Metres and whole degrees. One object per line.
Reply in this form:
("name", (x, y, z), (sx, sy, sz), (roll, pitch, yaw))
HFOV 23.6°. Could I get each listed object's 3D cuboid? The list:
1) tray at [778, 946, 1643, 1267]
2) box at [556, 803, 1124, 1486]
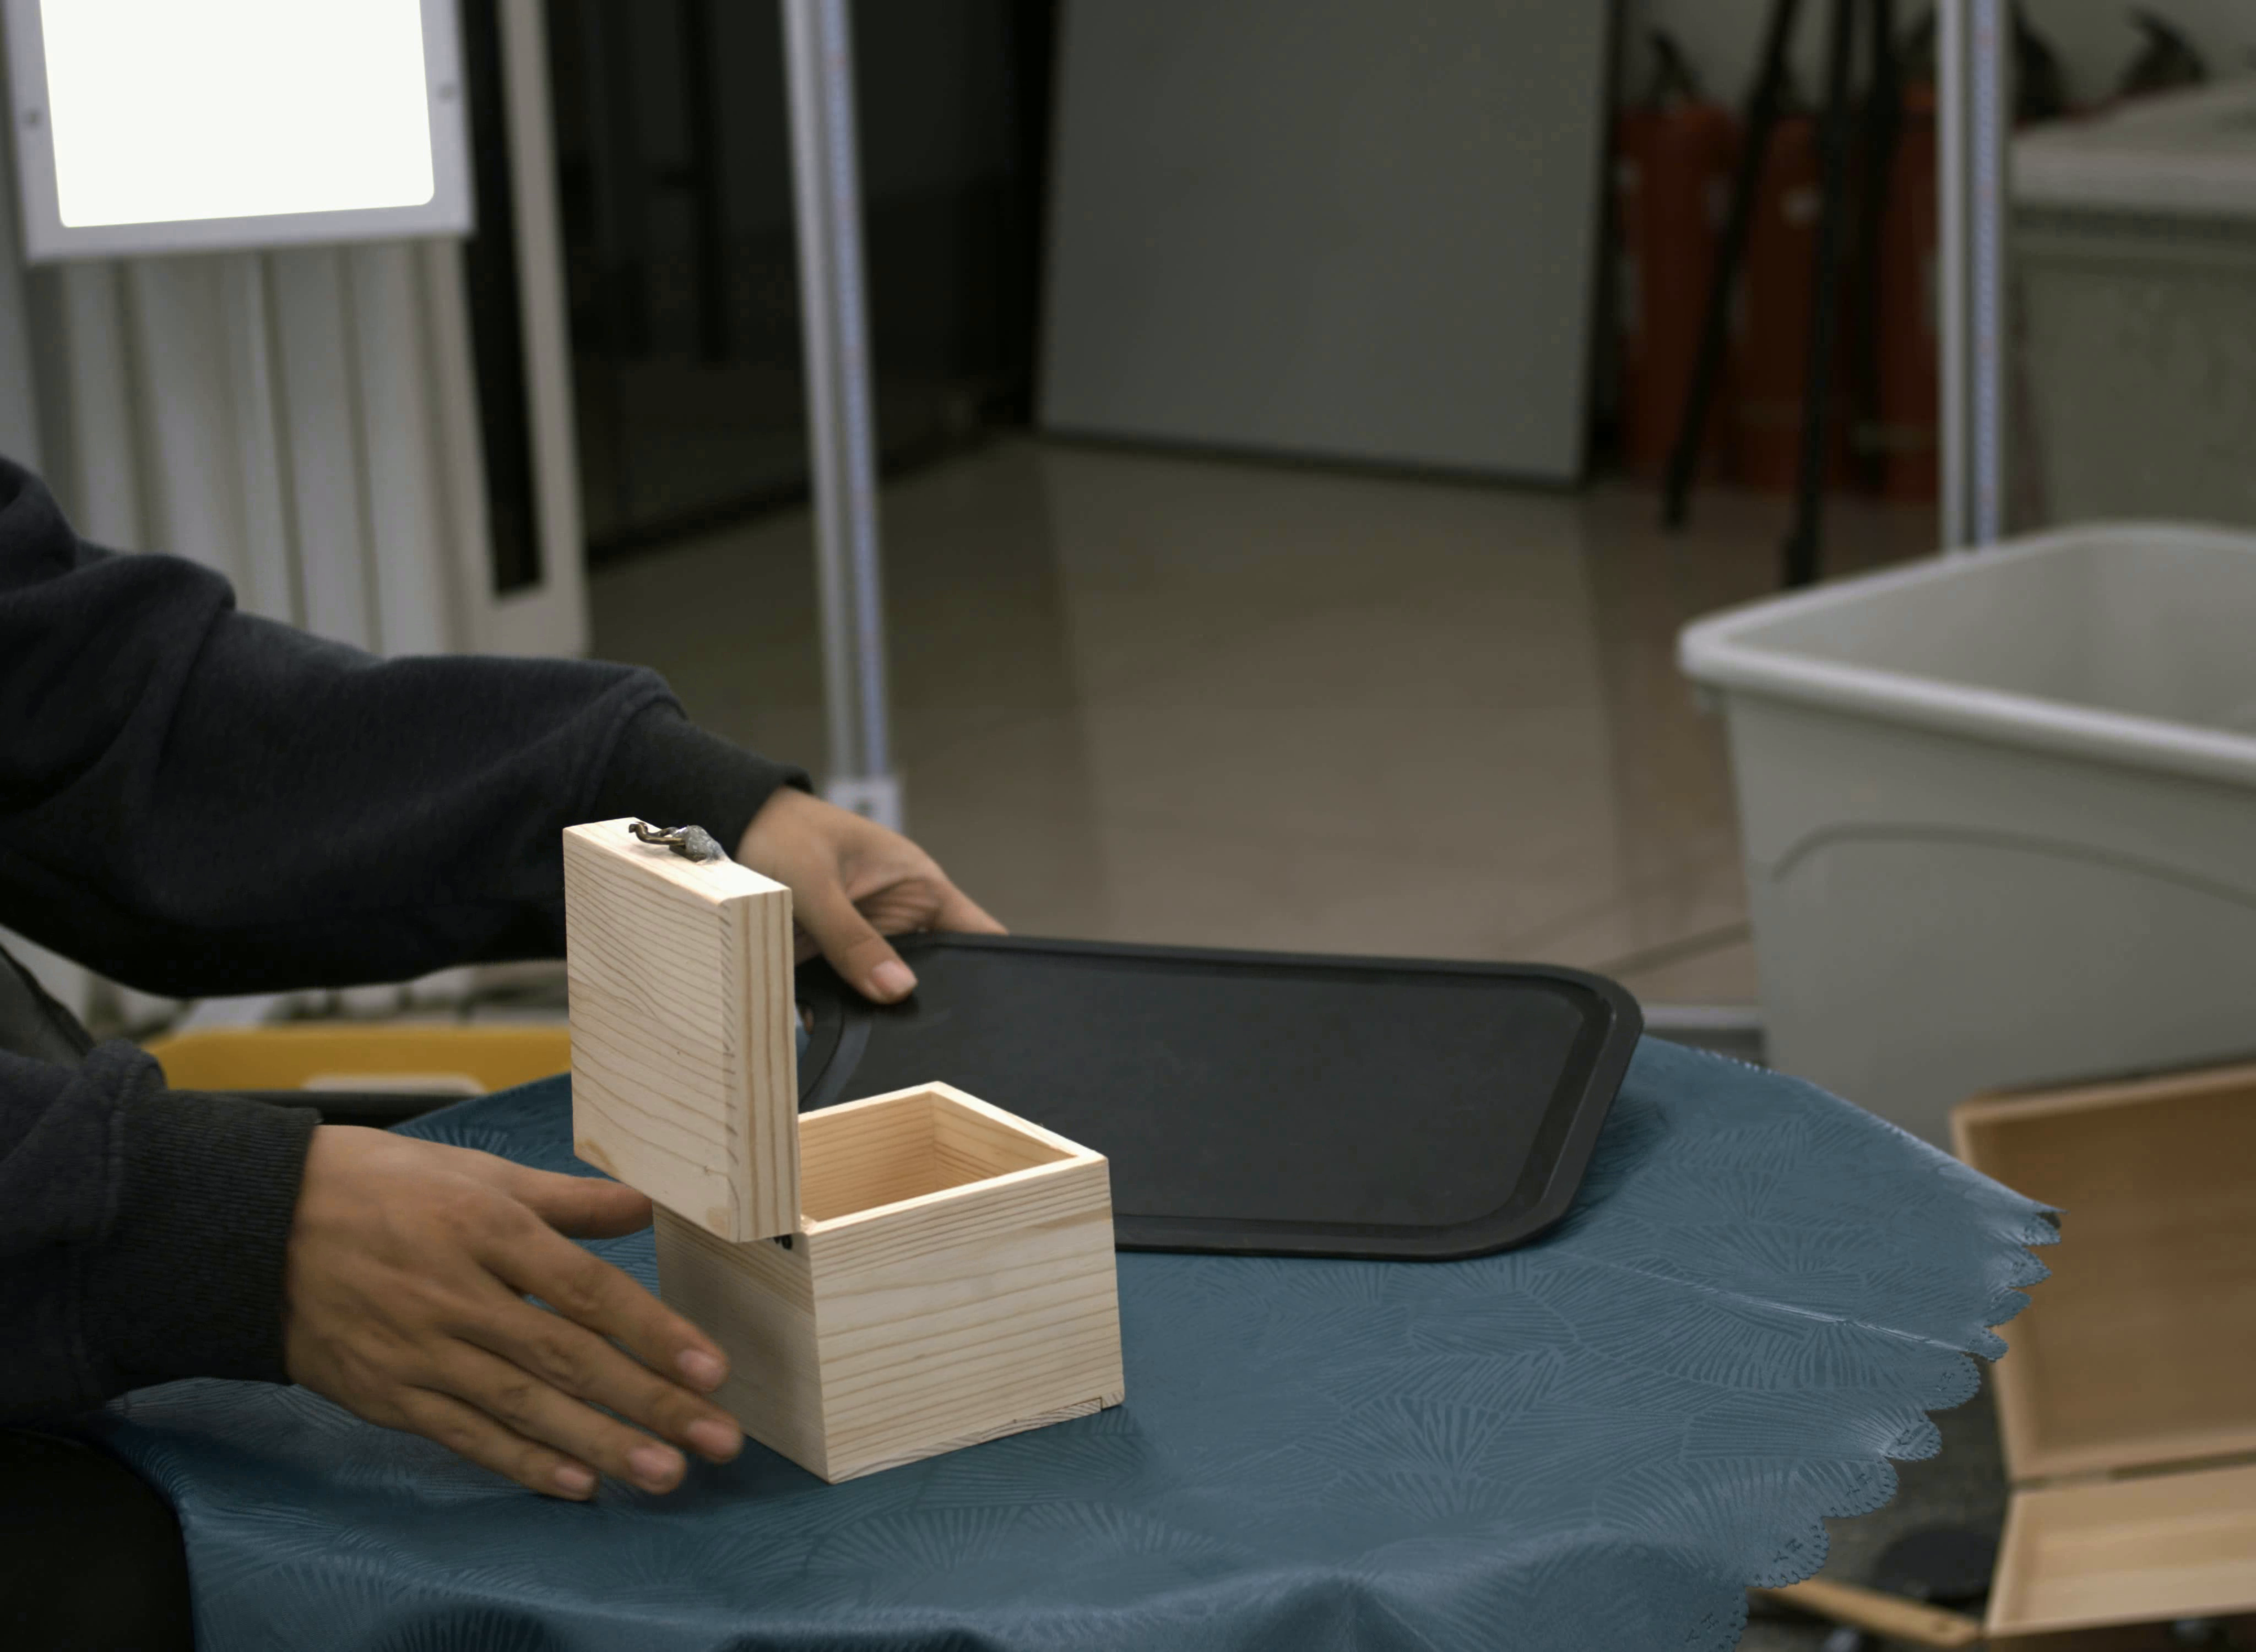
("tray", (0.003, 0.089, 1.804), (0.324, 0.010, 0.210), (1, 25, 18))
("box", (-0.082, 0.081, 1.563), (0.131, 0.186, 0.104), (-13, 16, -29))
